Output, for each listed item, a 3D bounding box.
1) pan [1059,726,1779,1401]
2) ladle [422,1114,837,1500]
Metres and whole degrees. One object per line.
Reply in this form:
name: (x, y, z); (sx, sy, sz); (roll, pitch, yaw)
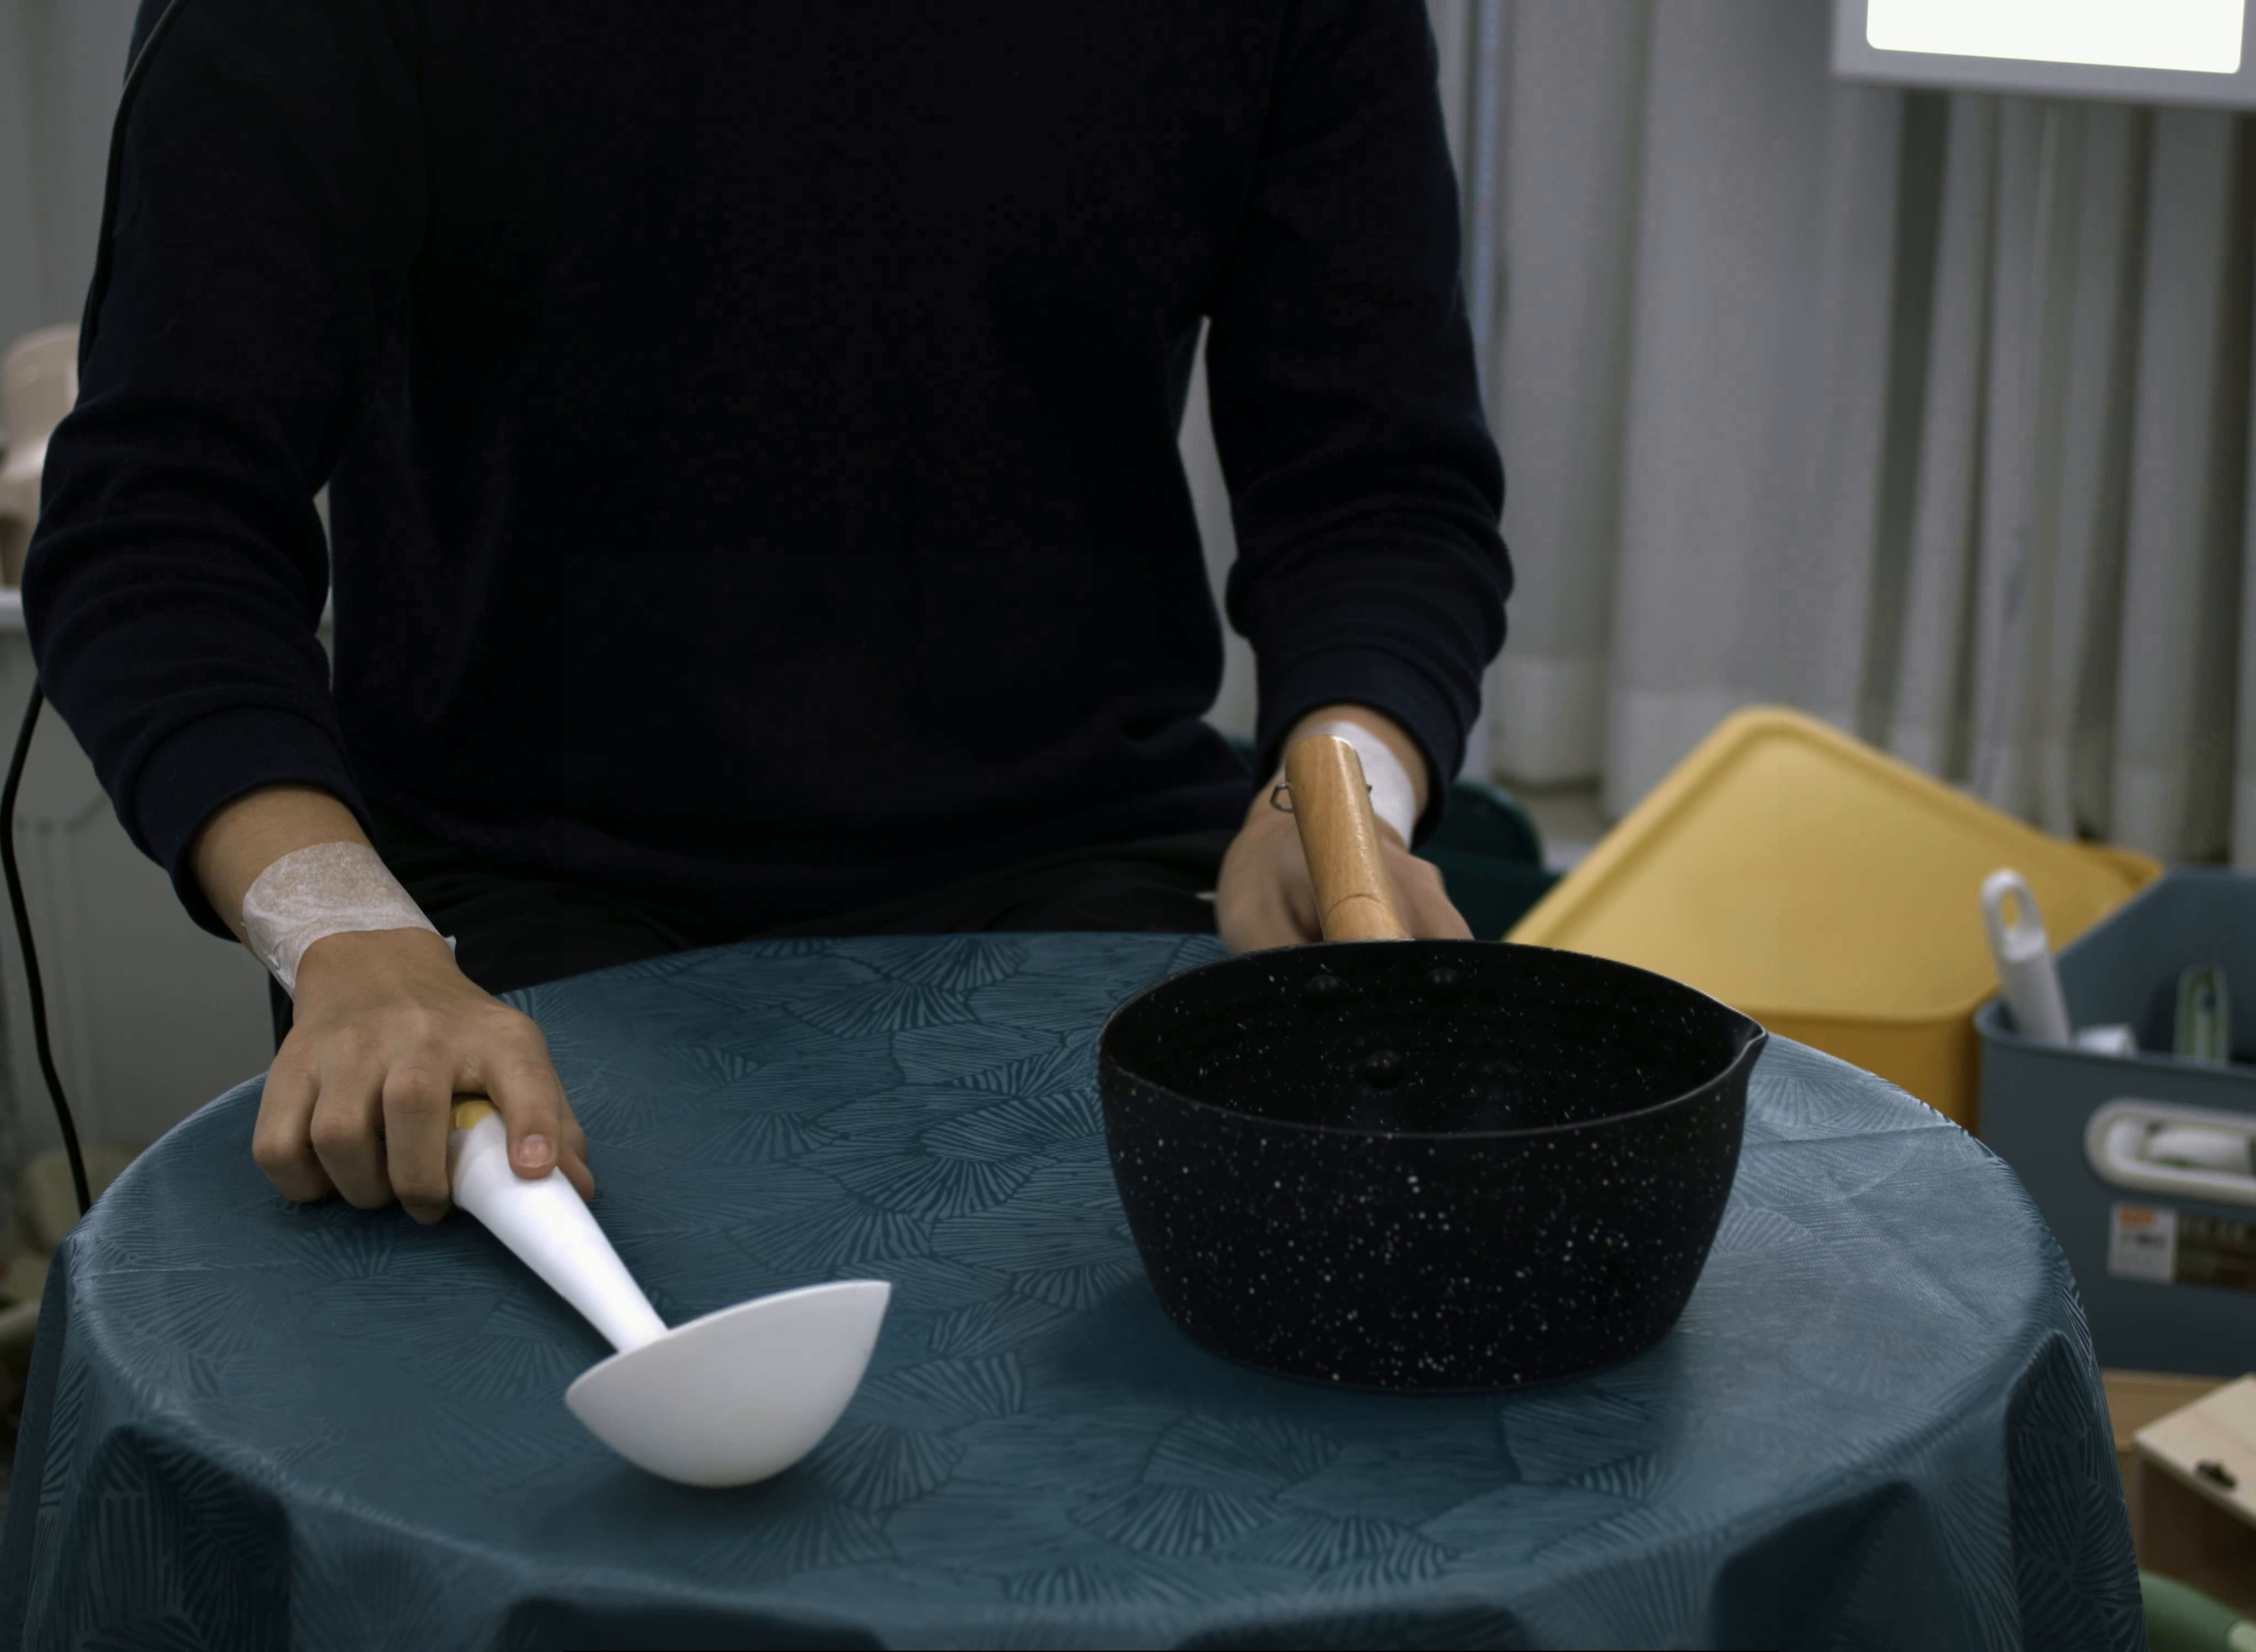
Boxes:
pan: (0.076, 0.066, 1.589); (0.207, 0.109, 0.340); (-2, 17, -6)
ladle: (-0.155, 0.120, 1.478); (0.090, 0.070, 0.290); (-22, 21, -15)
